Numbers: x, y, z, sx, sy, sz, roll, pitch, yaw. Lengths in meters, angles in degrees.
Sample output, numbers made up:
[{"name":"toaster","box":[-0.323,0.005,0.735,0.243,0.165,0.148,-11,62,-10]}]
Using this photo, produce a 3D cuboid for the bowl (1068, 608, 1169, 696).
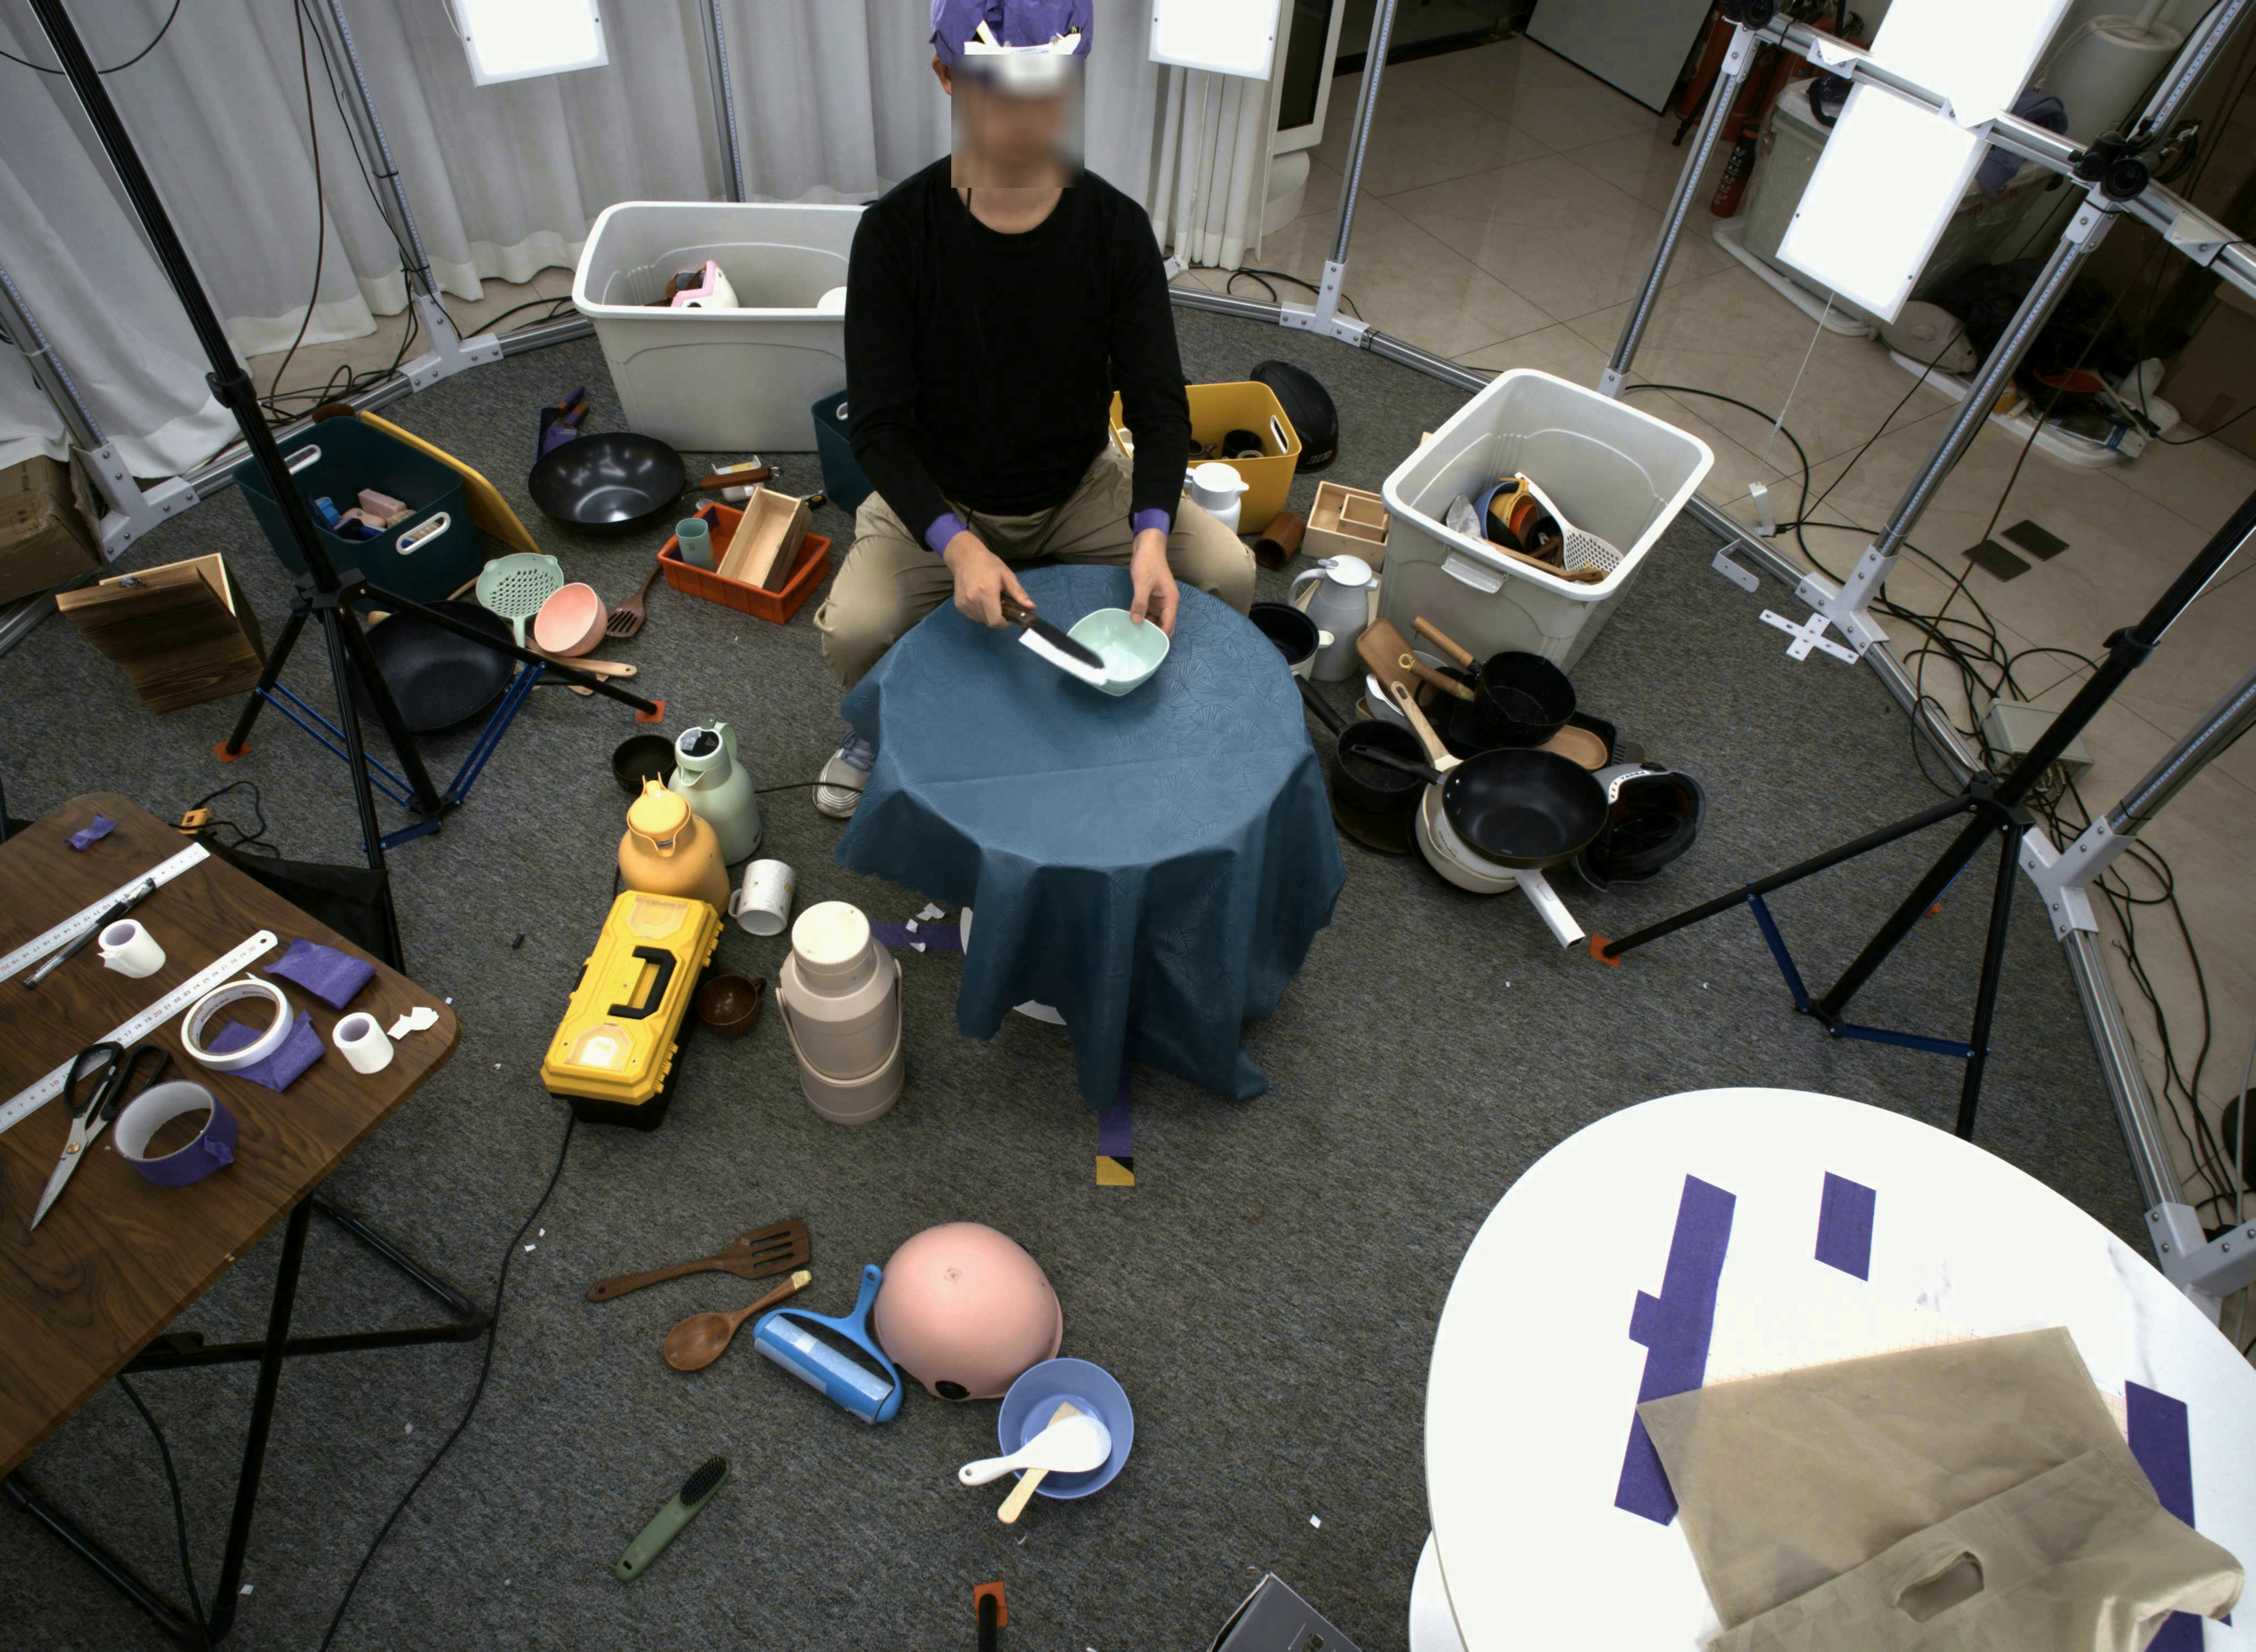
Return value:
[{"name":"bowl","box":[-0.018,-0.241,1.841,0.151,0.057,0.155,2,50,-3]}]

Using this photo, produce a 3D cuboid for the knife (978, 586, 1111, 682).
[{"name":"knife","box":[-0.118,-0.269,1.793,0.050,0.019,0.294,-48,55,-5]}]
